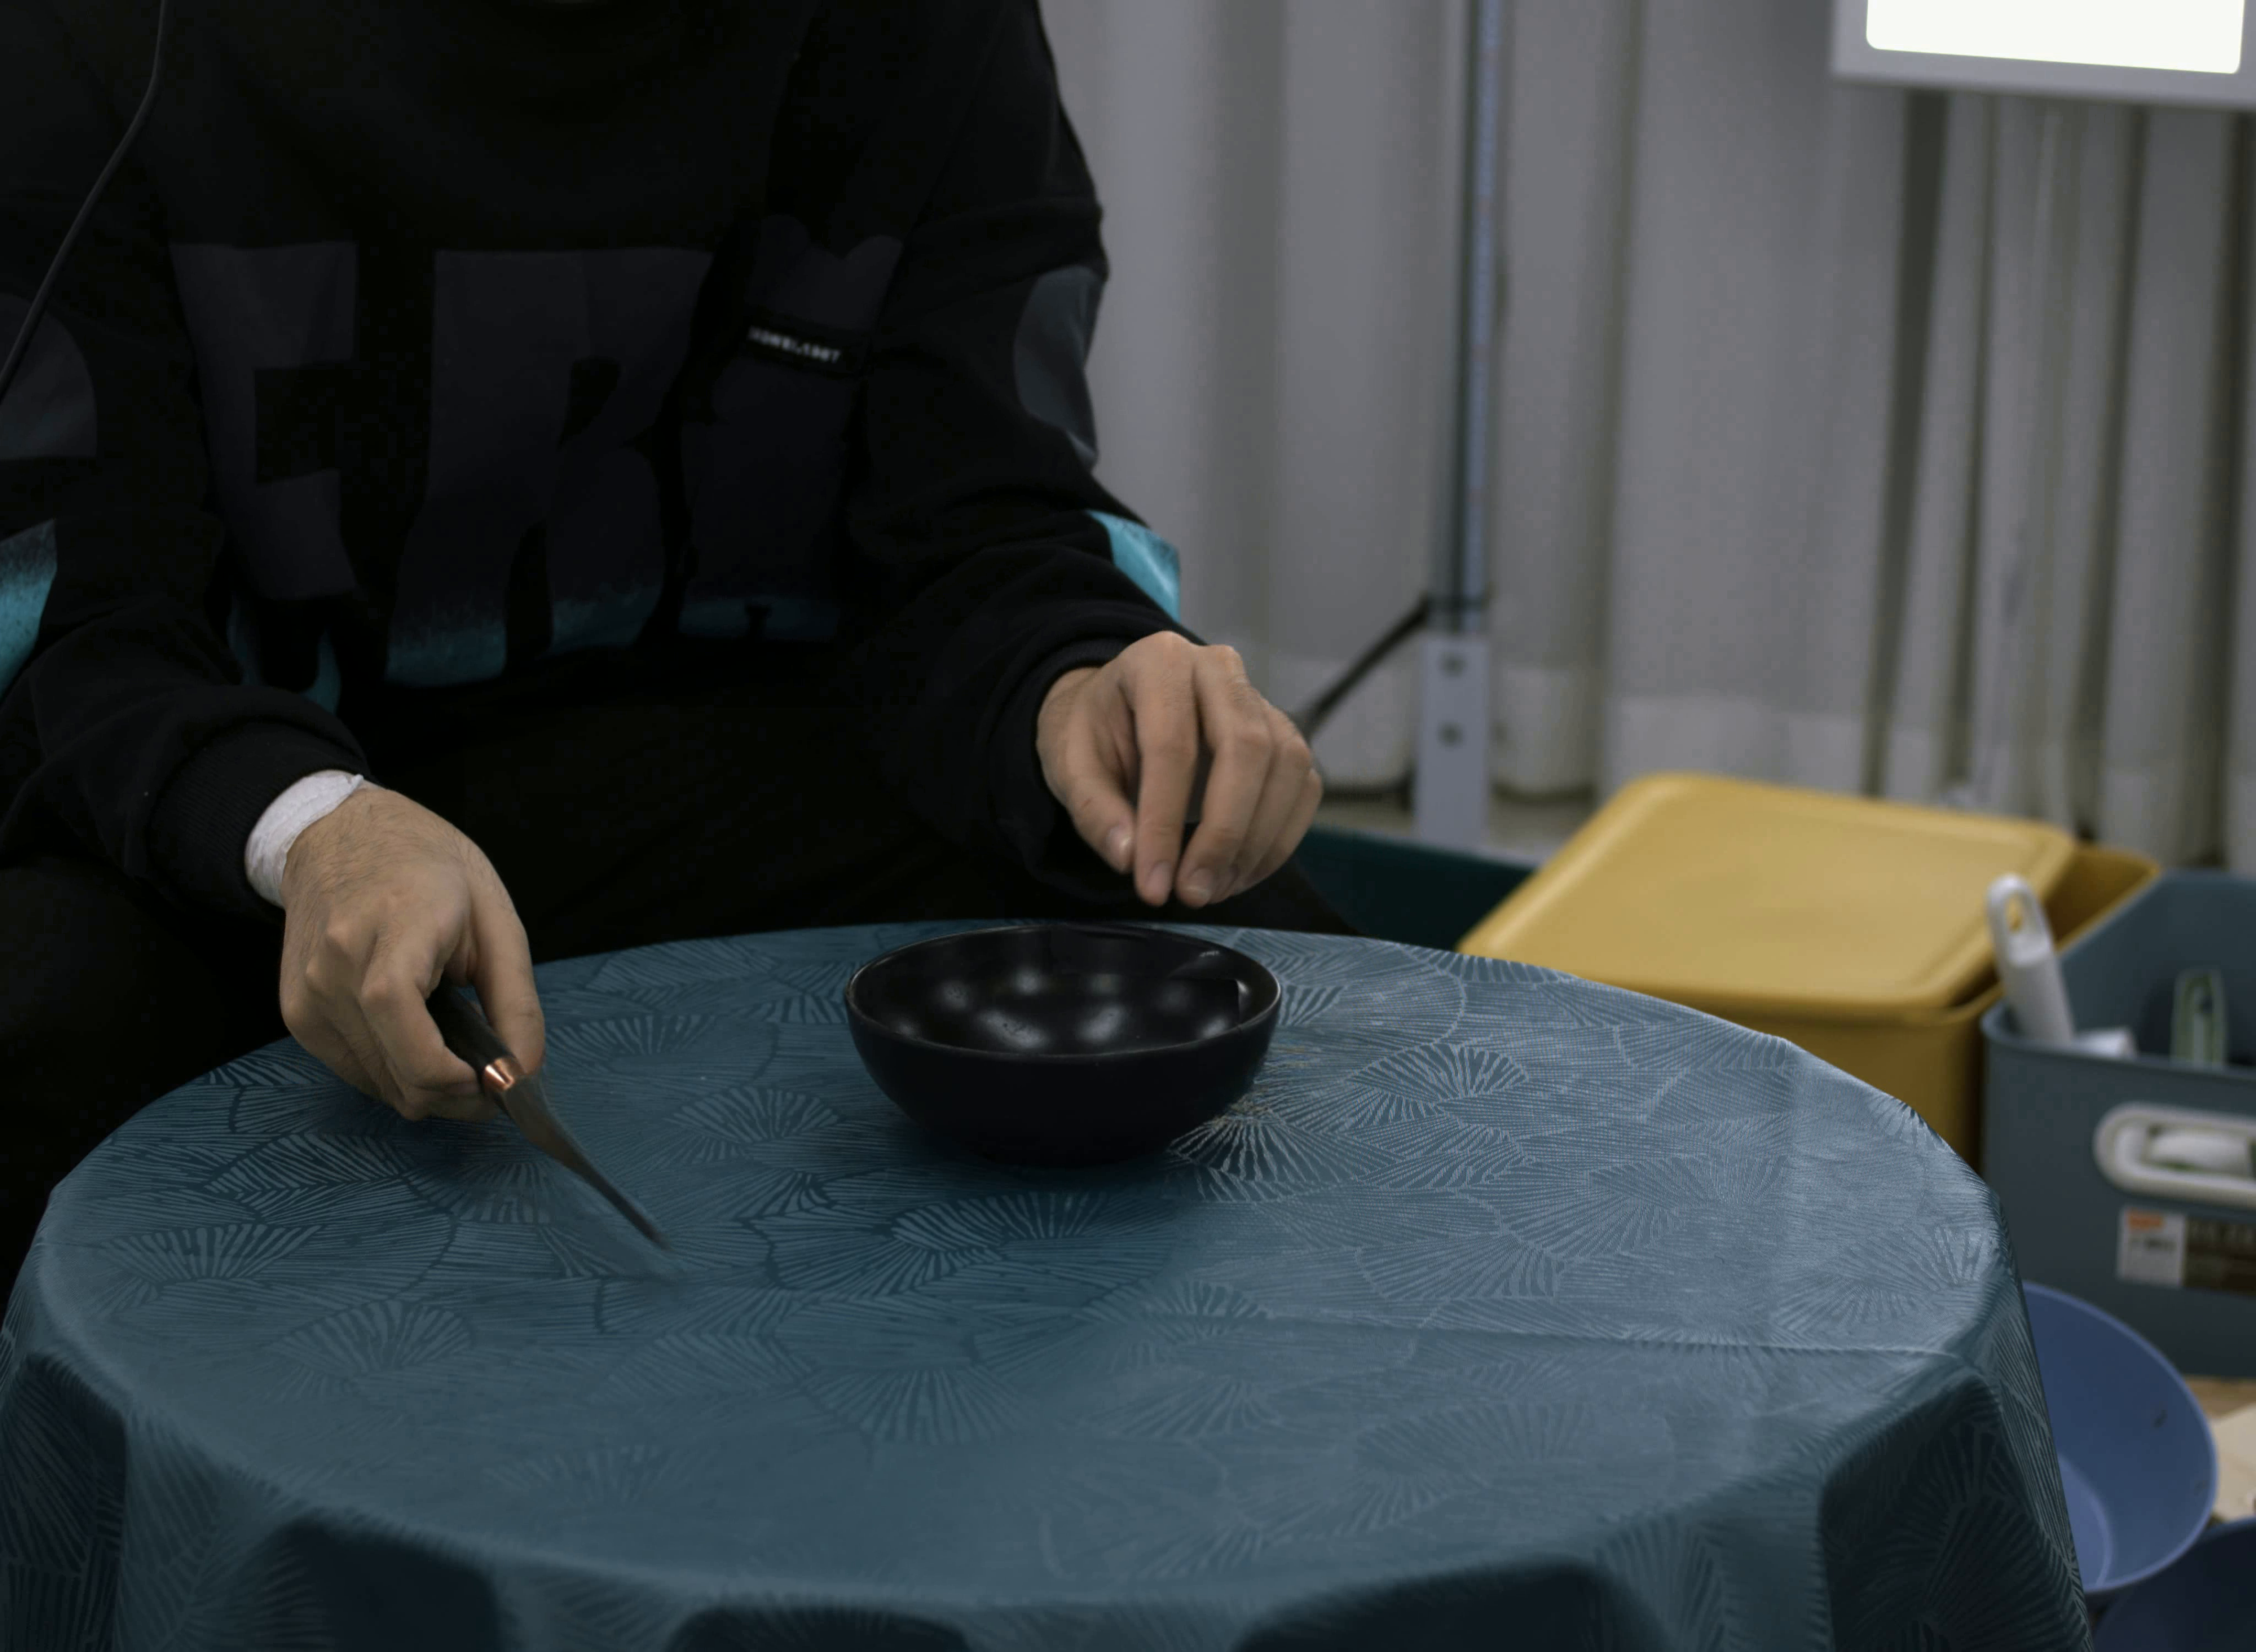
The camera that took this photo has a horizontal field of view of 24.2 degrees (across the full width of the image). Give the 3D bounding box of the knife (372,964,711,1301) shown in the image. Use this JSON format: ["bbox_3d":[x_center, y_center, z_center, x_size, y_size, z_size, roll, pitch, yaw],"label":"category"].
[{"bbox_3d":[-0.181,0.091,1.608,0.017,0.026,0.222,-33,36,-17],"label":"knife"}]

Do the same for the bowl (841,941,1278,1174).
[{"bbox_3d":[-0.020,0.077,1.668,0.139,0.050,0.139,-3,13,1],"label":"bowl"}]
